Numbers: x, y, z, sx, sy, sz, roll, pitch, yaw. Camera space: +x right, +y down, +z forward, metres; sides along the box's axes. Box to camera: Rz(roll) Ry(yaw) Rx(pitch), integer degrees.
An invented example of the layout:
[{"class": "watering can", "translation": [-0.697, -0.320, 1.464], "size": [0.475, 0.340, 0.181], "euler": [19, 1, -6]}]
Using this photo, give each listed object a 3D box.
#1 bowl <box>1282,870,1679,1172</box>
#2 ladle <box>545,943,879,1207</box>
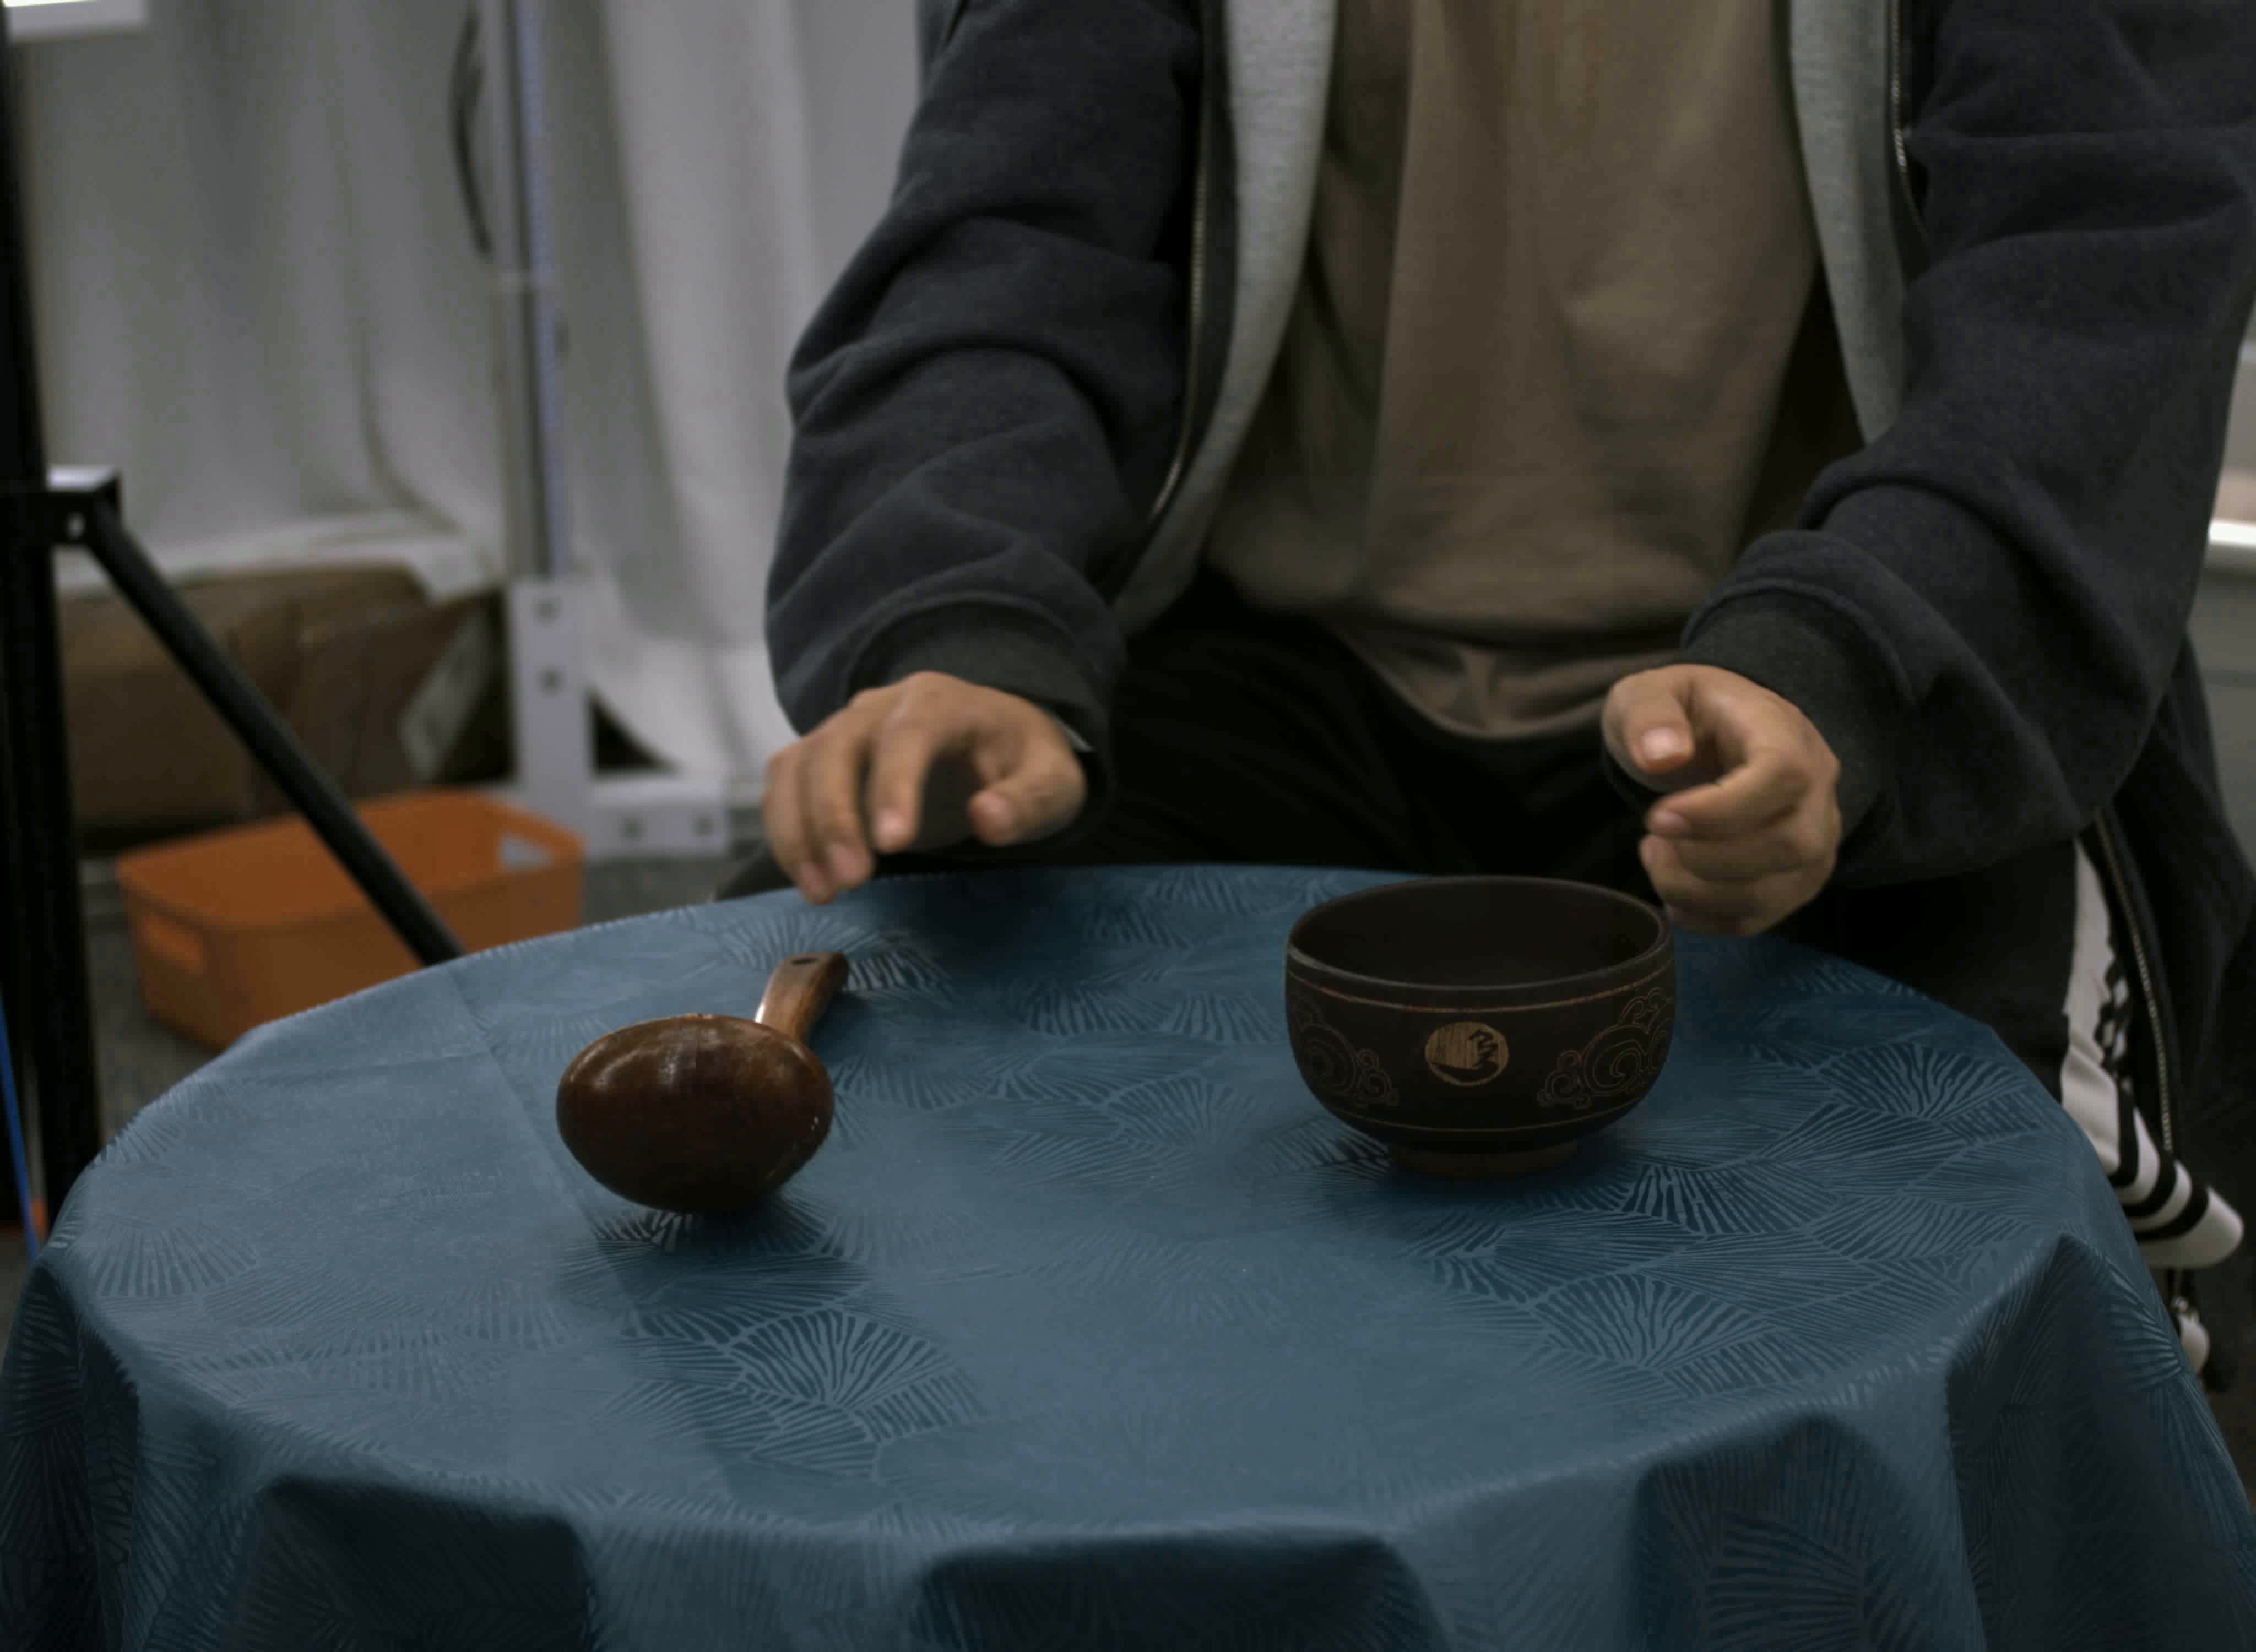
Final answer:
[{"class": "bowl", "translation": [0.105, 0.061, 1.571], "size": [0.117, 0.070, 0.118], "euler": [-3, 15, -1]}, {"class": "ladle", "translation": [-0.116, 0.052, 1.634], "size": [0.082, 0.076, 0.274], "euler": [-5, 16, 8]}]
